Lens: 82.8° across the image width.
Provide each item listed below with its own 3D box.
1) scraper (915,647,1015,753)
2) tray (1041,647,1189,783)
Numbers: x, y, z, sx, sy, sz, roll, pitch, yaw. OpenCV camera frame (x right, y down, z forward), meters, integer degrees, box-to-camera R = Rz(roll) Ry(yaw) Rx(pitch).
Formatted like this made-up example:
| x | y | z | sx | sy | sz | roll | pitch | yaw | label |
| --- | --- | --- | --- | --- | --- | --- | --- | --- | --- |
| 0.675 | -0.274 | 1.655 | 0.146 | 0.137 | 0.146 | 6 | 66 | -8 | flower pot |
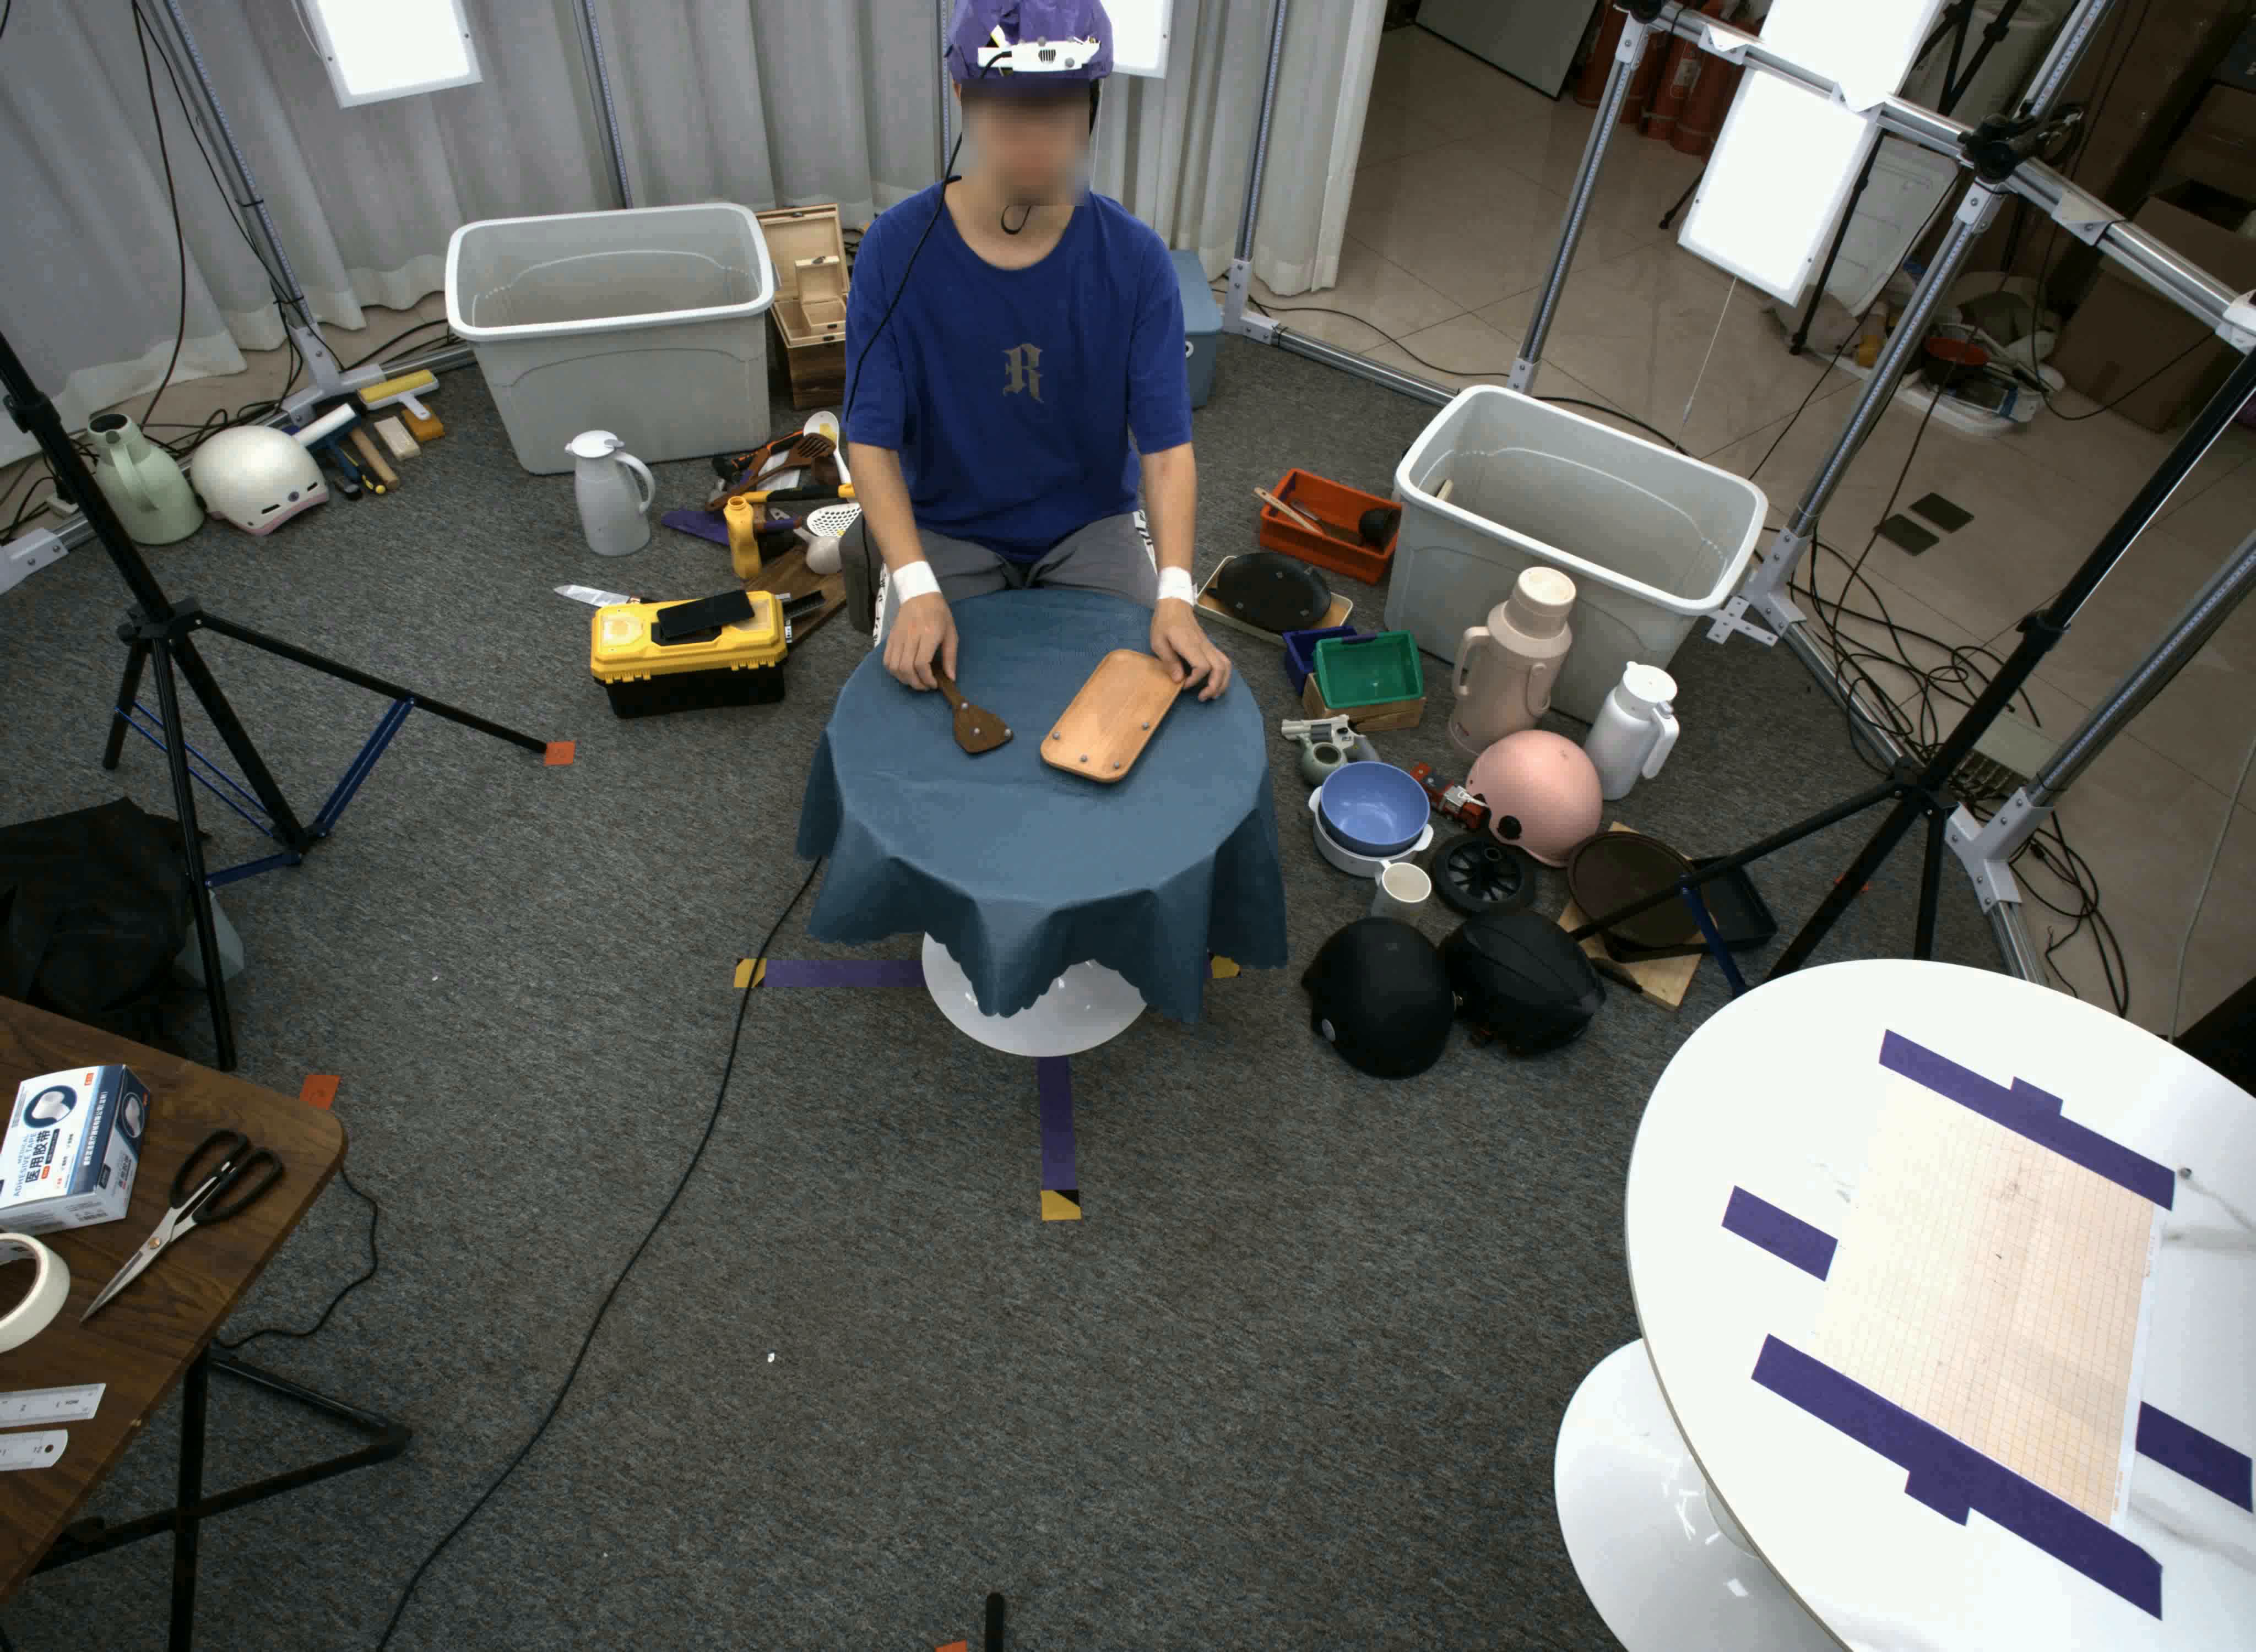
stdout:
| x | y | z | sx | sy | sz | roll | pitch | yaw | label |
| --- | --- | --- | --- | --- | --- | --- | --- | --- | --- |
| -0.239 | -0.180 | 1.801 | 0.076 | 0.010 | 0.215 | -23 | 58 | -25 | scraper |
| -0.015 | -0.158 | 1.793 | 0.131 | 0.022 | 0.255 | 21 | 51 | 16 | tray |
